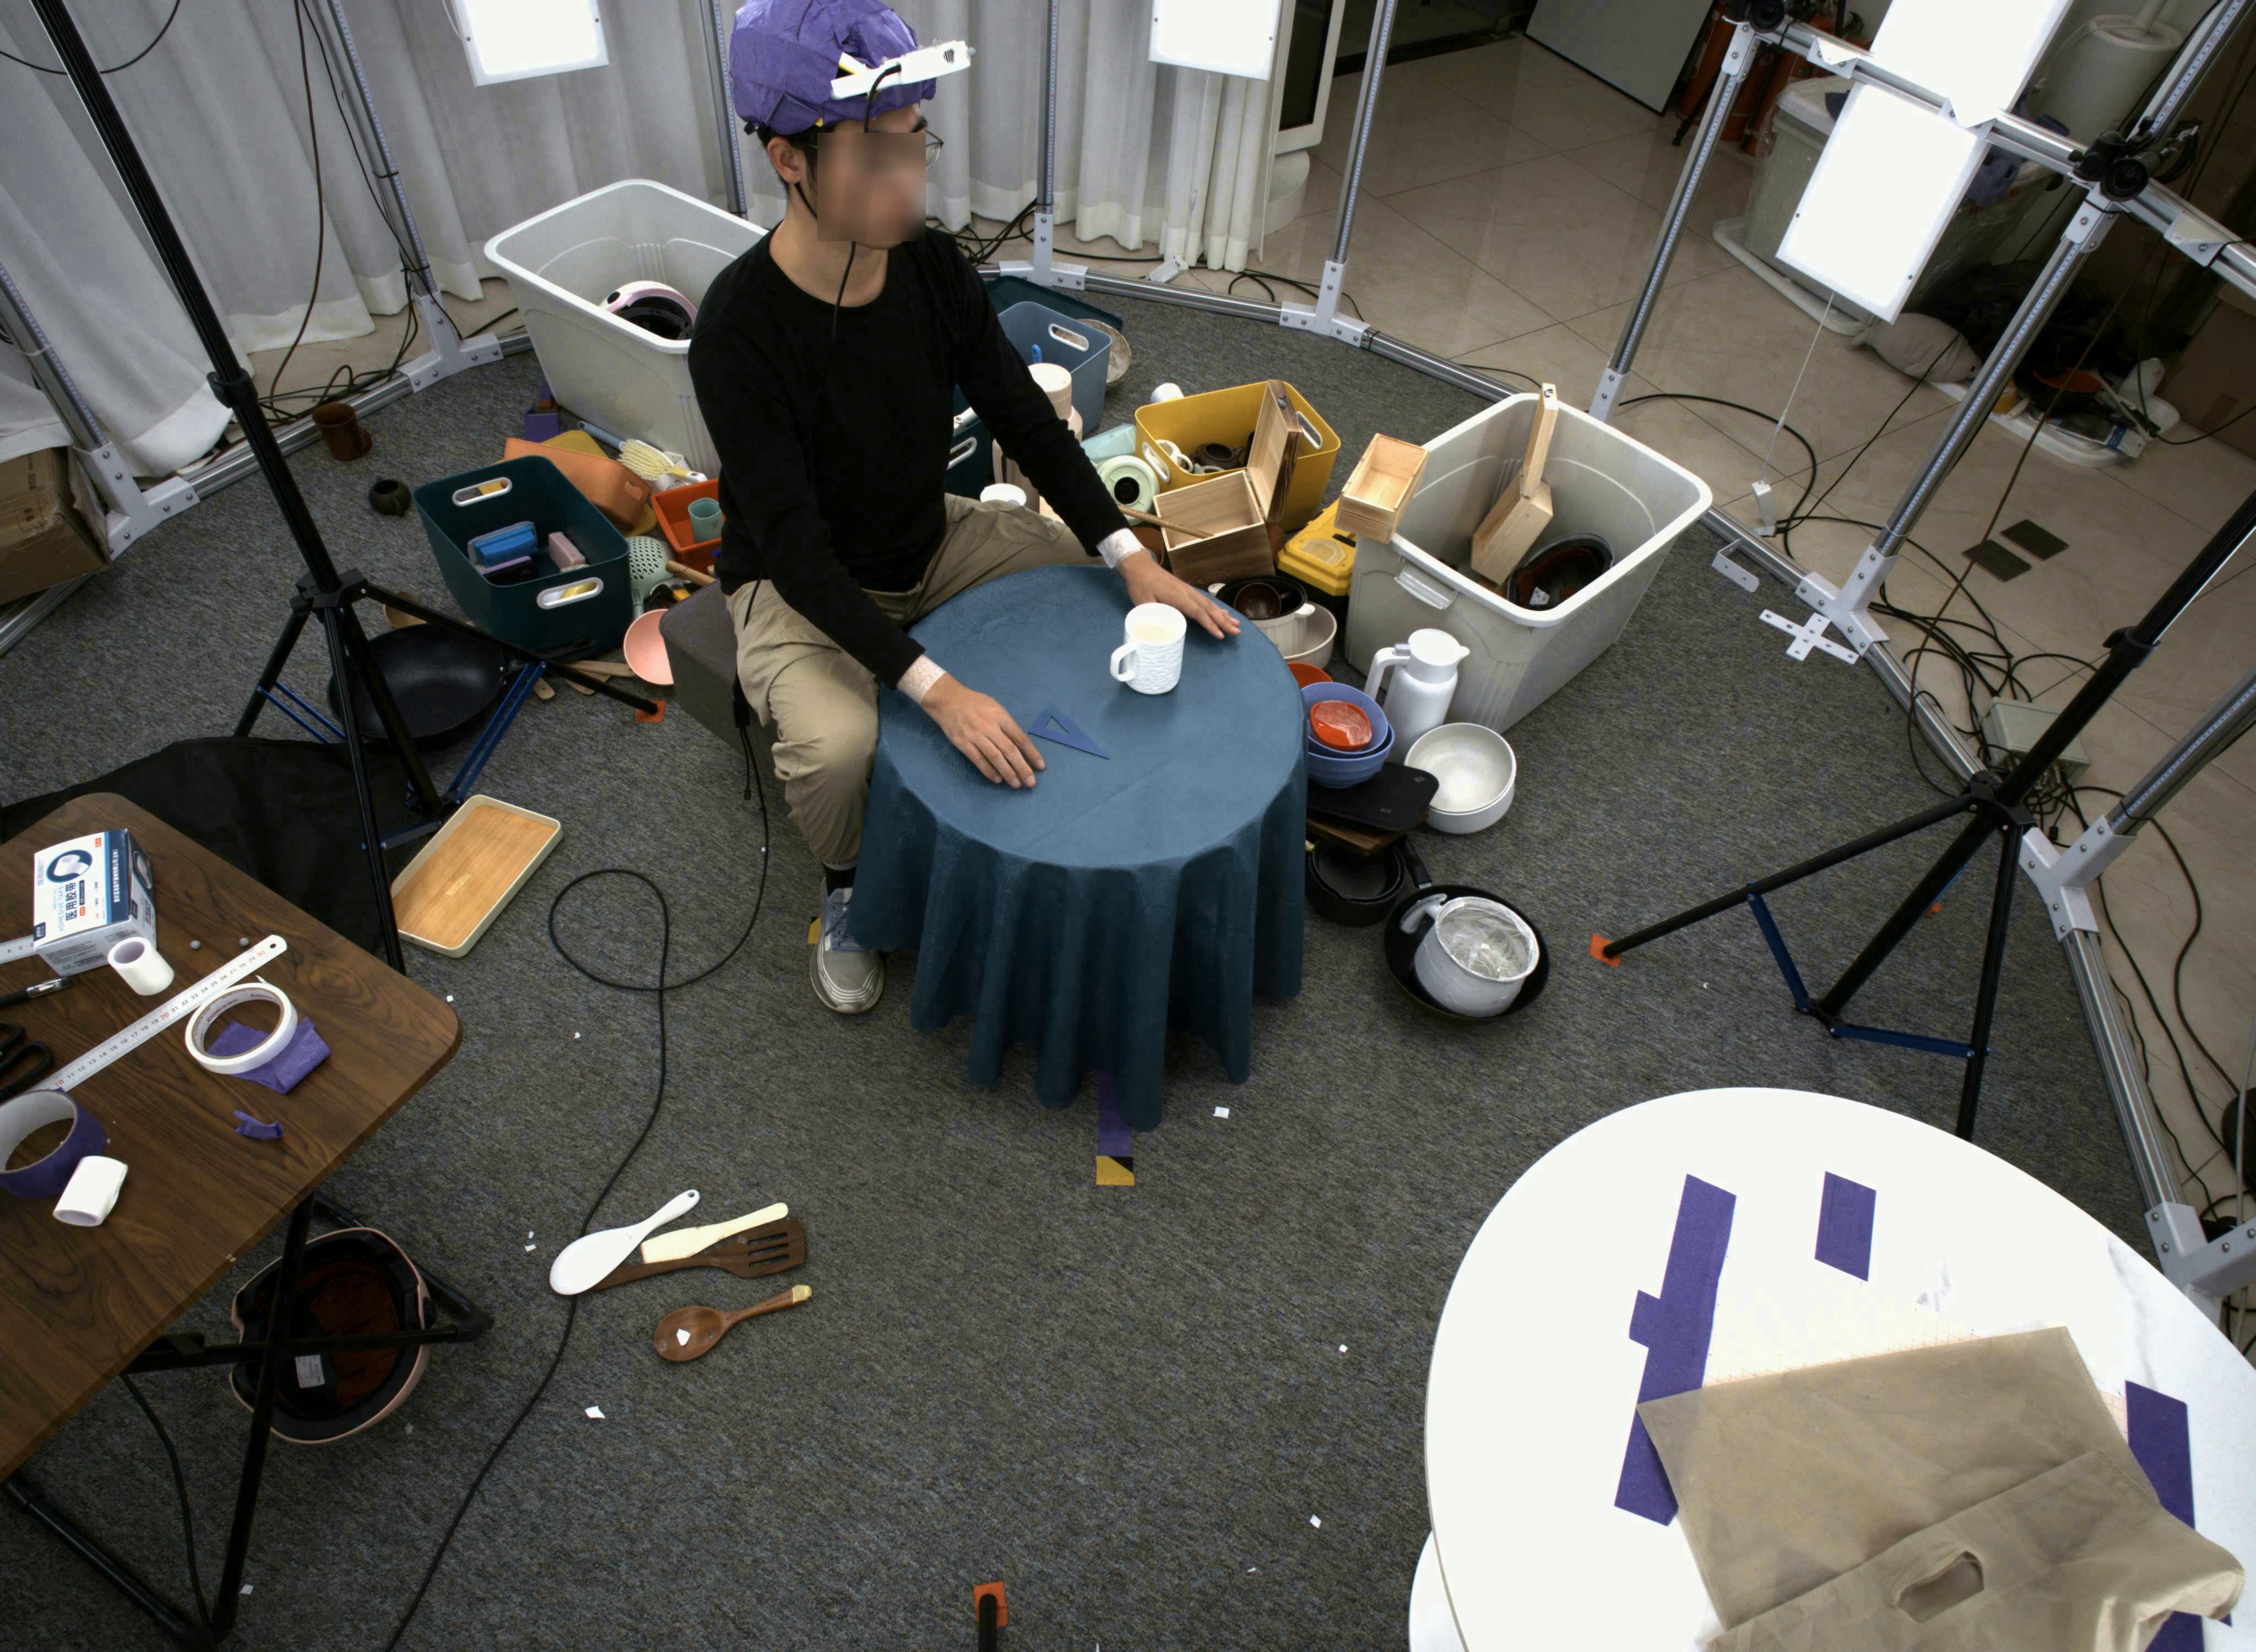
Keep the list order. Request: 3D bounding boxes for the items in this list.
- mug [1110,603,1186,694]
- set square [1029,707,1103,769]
[{"bbox_3d":[0.023,-0.243,1.816,0.119,0.099,0.086,-31,58,-27],"label":"mug"},{"bbox_3d":[-0.091,-0.115,1.761,0.061,0.006,0.134,-25,55,-25],"label":"set square"}]
